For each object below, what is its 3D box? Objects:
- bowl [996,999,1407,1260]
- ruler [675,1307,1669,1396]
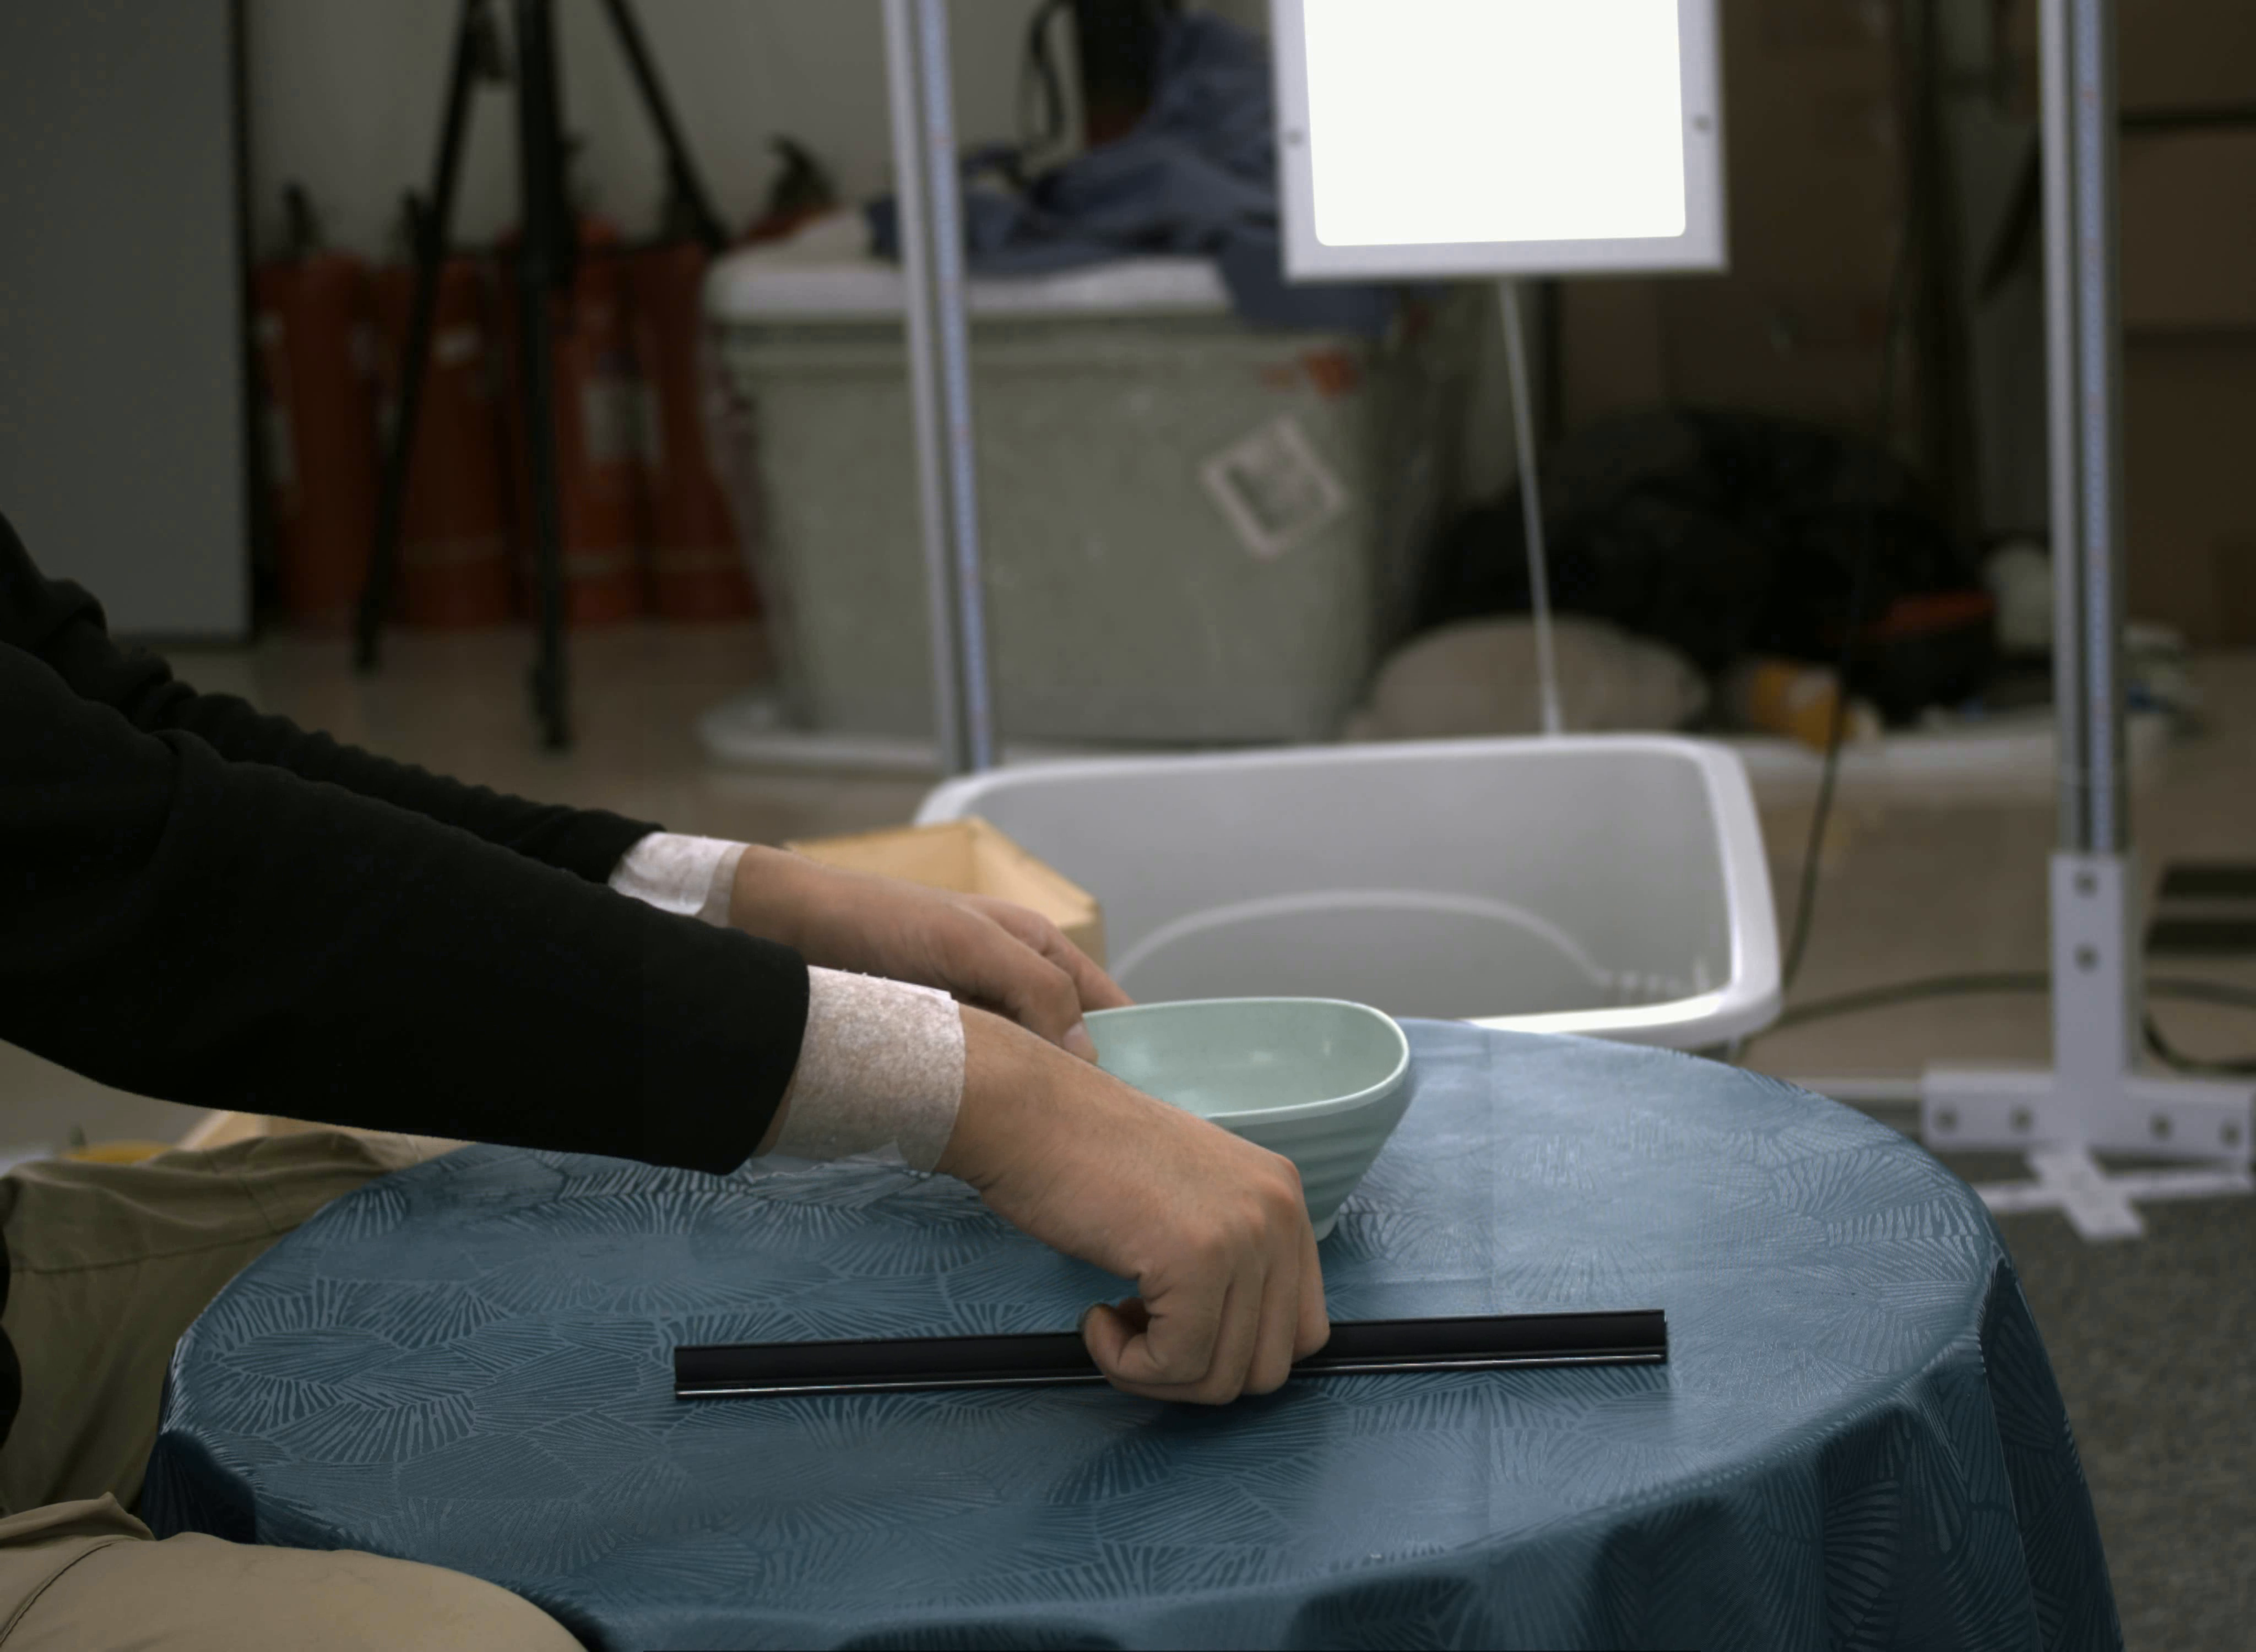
[{"bbox_3d":[0.026,0.105,1.856,0.151,0.059,0.151,-3,15,-1],"label":"bowl"},{"bbox_3d":[0.013,0.160,1.724,0.314,0.017,0.039,-3,11,9],"label":"ruler"}]
